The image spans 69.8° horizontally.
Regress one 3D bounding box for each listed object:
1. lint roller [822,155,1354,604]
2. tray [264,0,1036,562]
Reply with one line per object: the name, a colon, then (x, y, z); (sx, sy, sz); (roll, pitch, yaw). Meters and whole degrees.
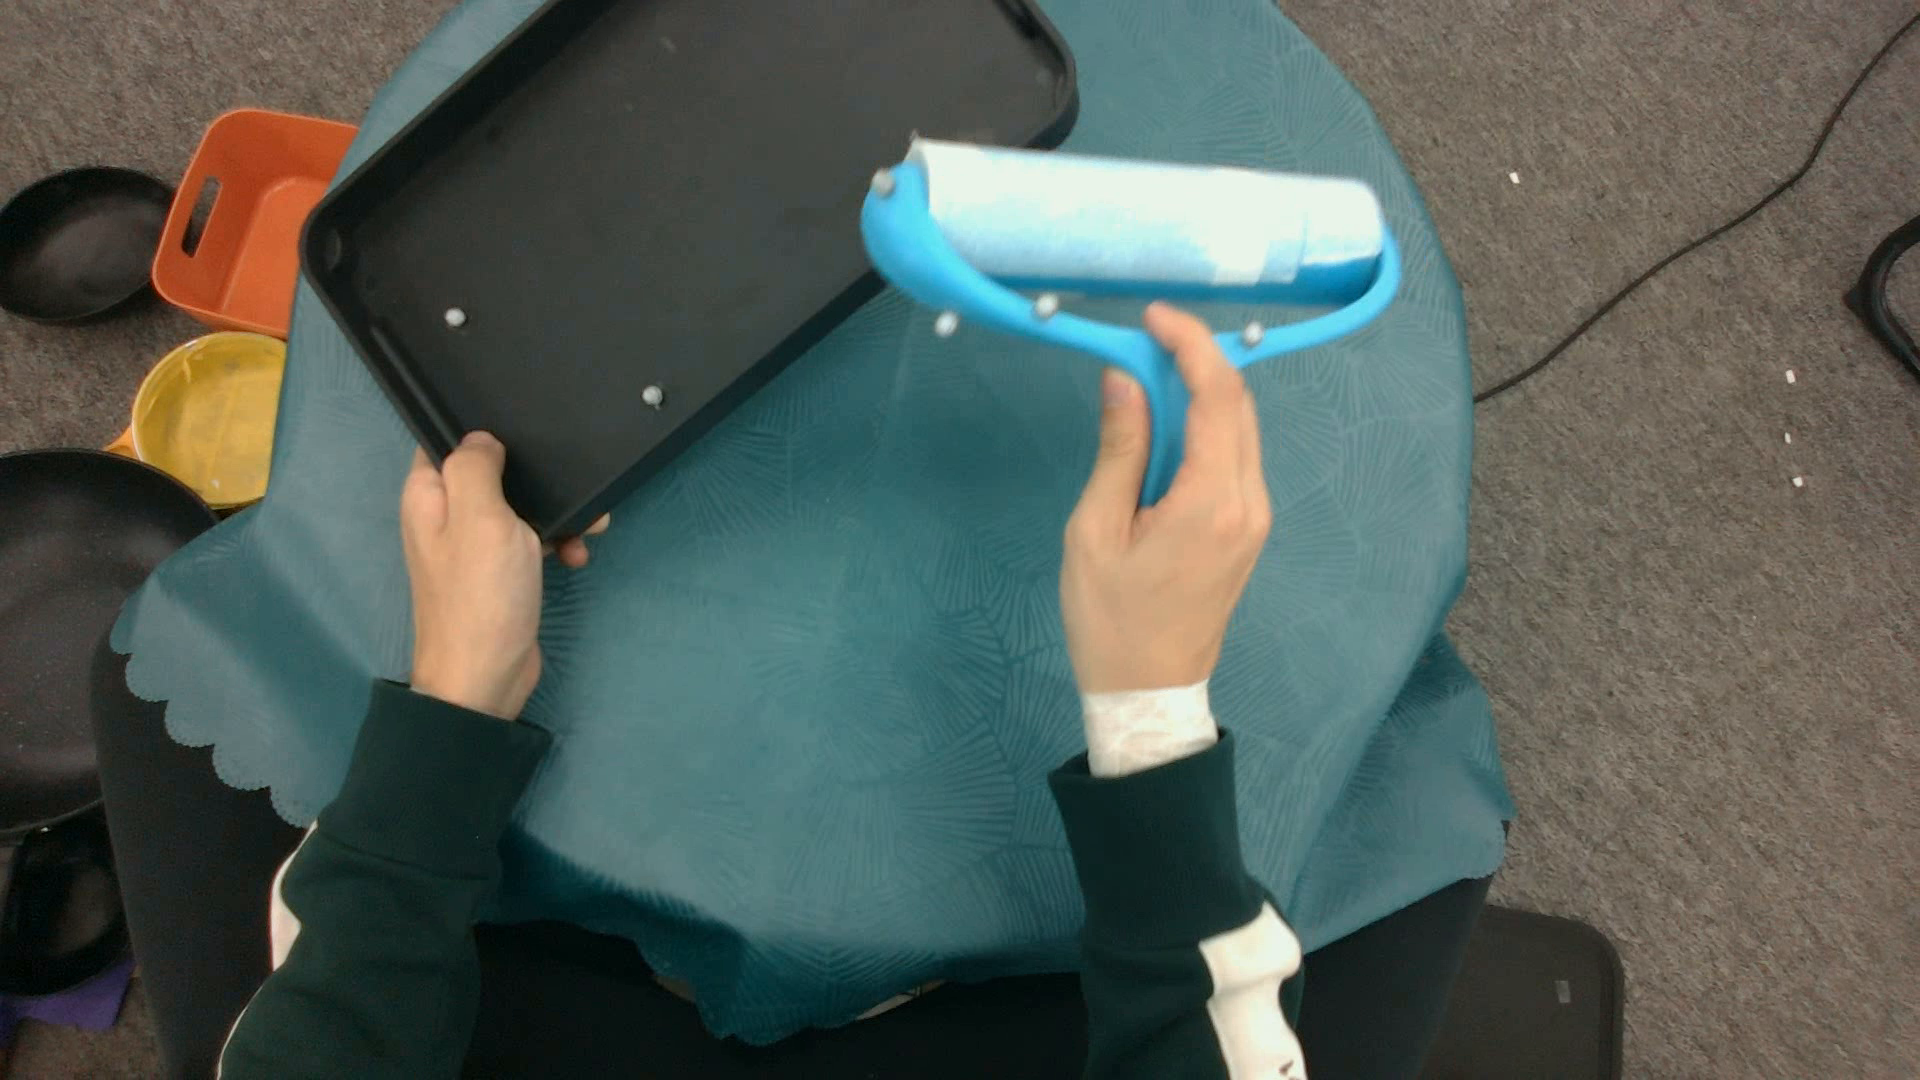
lint roller: (0.064, -0.066, 0.552); (0.229, 0.068, 0.180); (-6, 85, -23)
tray: (-0.135, -0.153, 0.592); (0.317, 0.037, 0.184); (-41, 83, 7)
